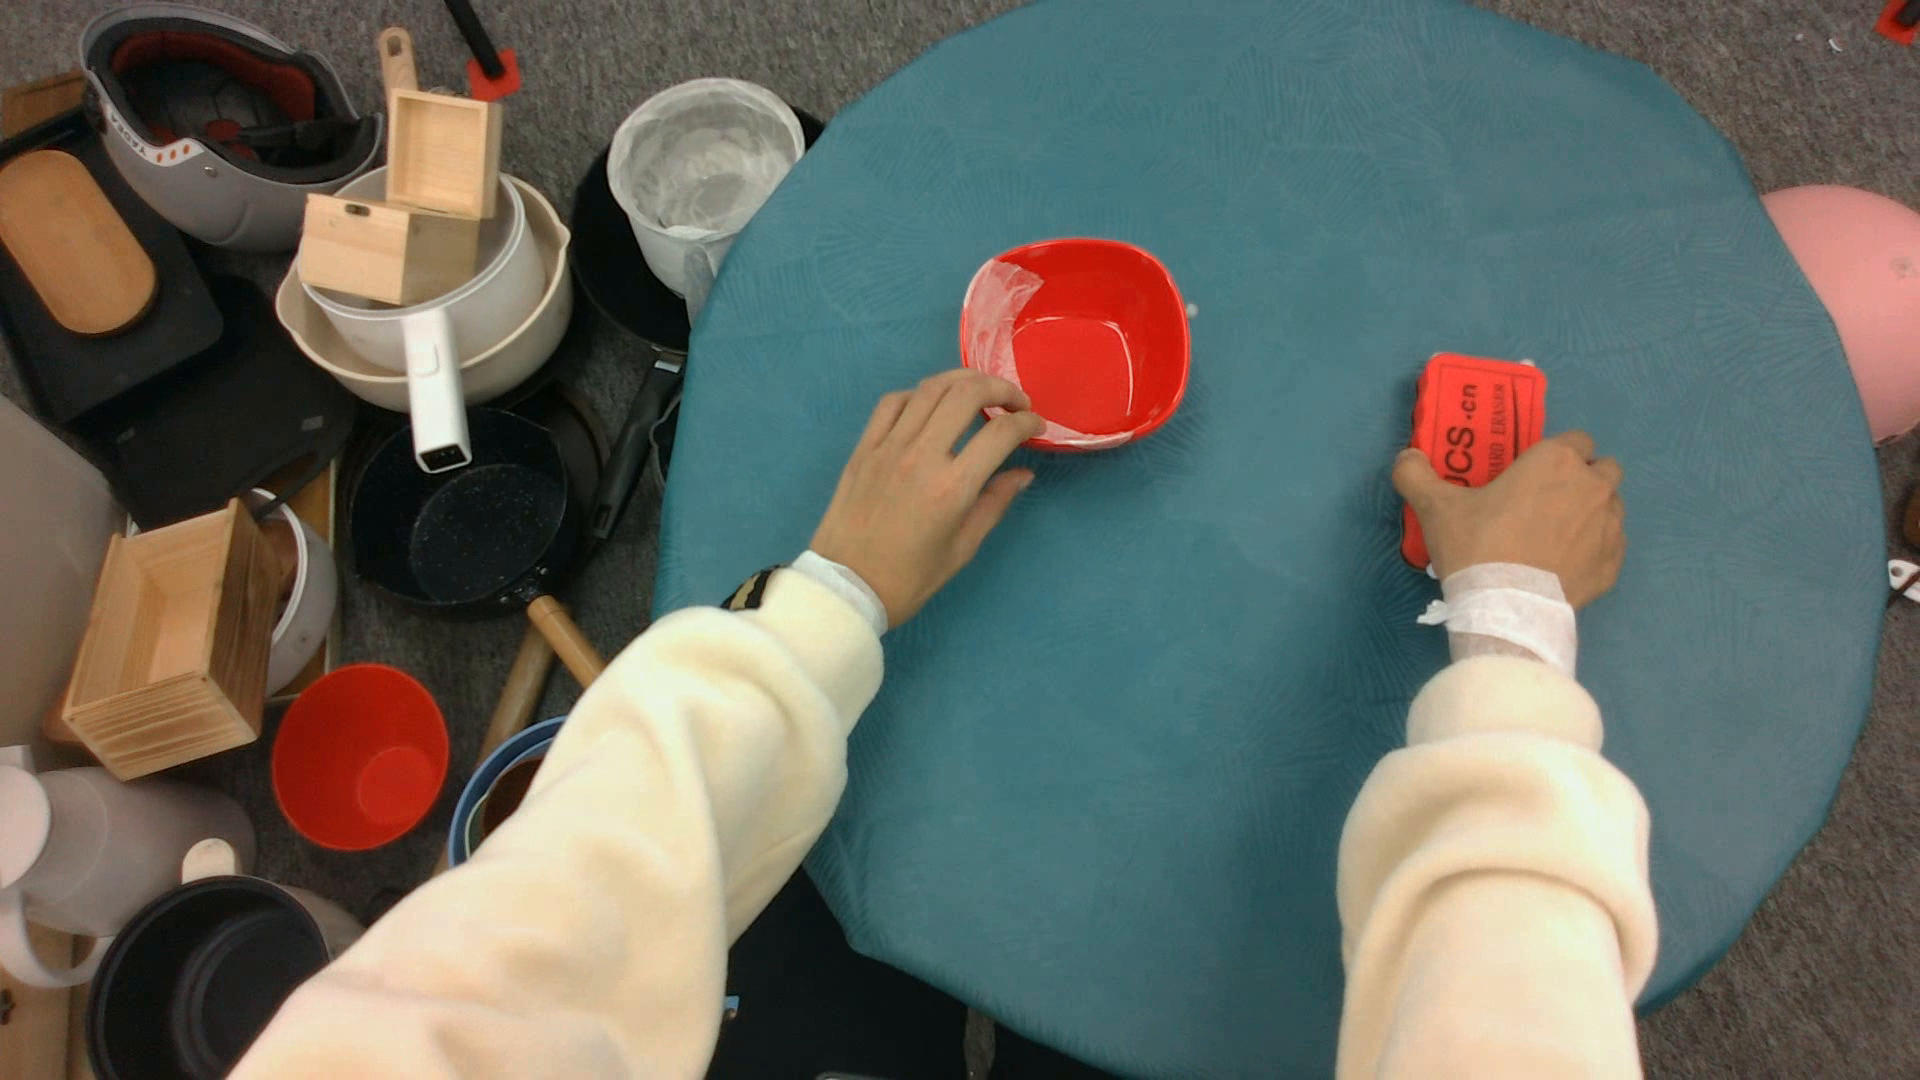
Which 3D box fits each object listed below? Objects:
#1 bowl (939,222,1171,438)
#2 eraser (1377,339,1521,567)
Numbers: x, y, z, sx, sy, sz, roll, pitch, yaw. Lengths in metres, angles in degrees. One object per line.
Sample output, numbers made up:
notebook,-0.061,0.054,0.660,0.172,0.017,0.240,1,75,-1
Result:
bowl,0.045,-0.096,0.679,0.119,0.051,0.119,0,73,0
eraser,0.240,-0.043,0.674,0.059,0.023,0.108,11,72,2
